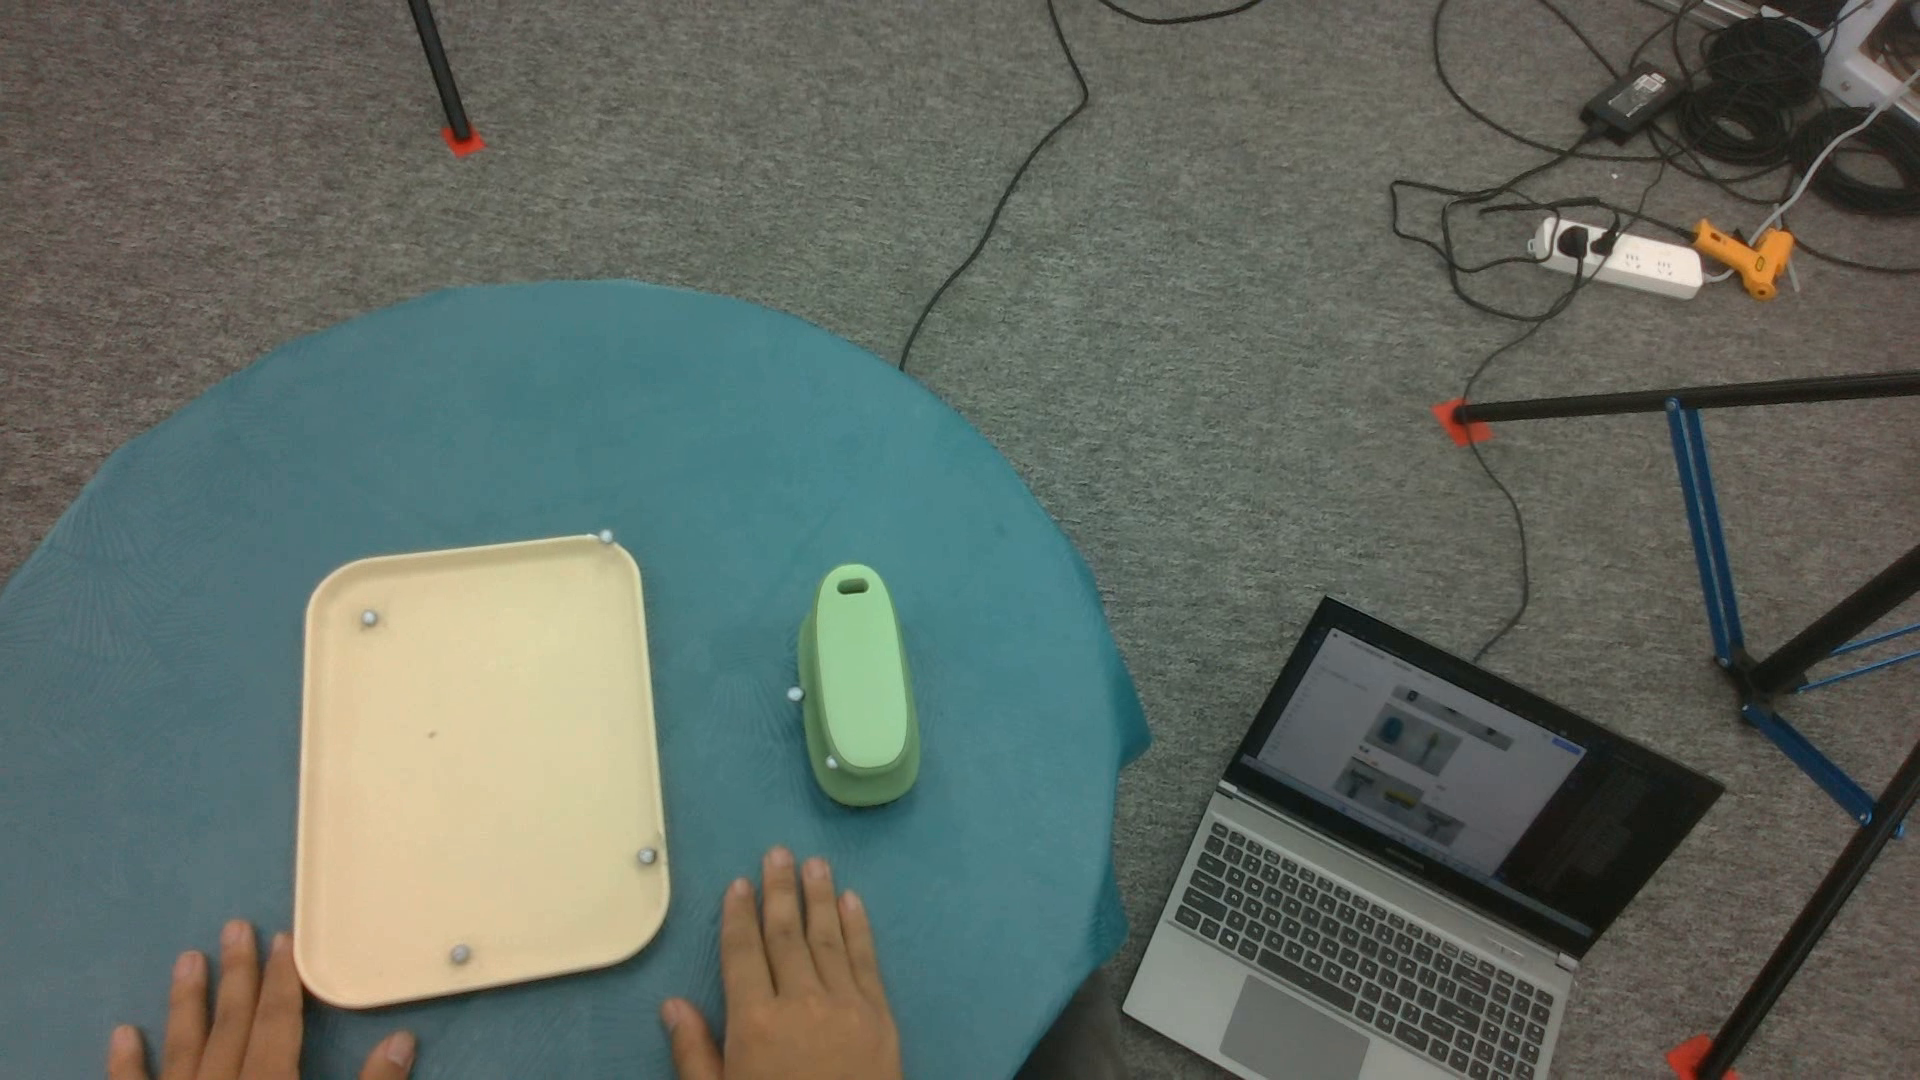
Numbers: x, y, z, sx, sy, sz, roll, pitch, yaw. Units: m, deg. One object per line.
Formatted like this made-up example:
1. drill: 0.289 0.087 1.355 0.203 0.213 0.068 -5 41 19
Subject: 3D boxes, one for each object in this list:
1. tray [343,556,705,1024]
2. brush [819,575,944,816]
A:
1. tray: -0.230 0.121 0.719 0.171 0.017 0.240 -9 59 -11
2. brush: -0.043 0.086 0.740 0.059 0.075 0.123 -9 73 -10
